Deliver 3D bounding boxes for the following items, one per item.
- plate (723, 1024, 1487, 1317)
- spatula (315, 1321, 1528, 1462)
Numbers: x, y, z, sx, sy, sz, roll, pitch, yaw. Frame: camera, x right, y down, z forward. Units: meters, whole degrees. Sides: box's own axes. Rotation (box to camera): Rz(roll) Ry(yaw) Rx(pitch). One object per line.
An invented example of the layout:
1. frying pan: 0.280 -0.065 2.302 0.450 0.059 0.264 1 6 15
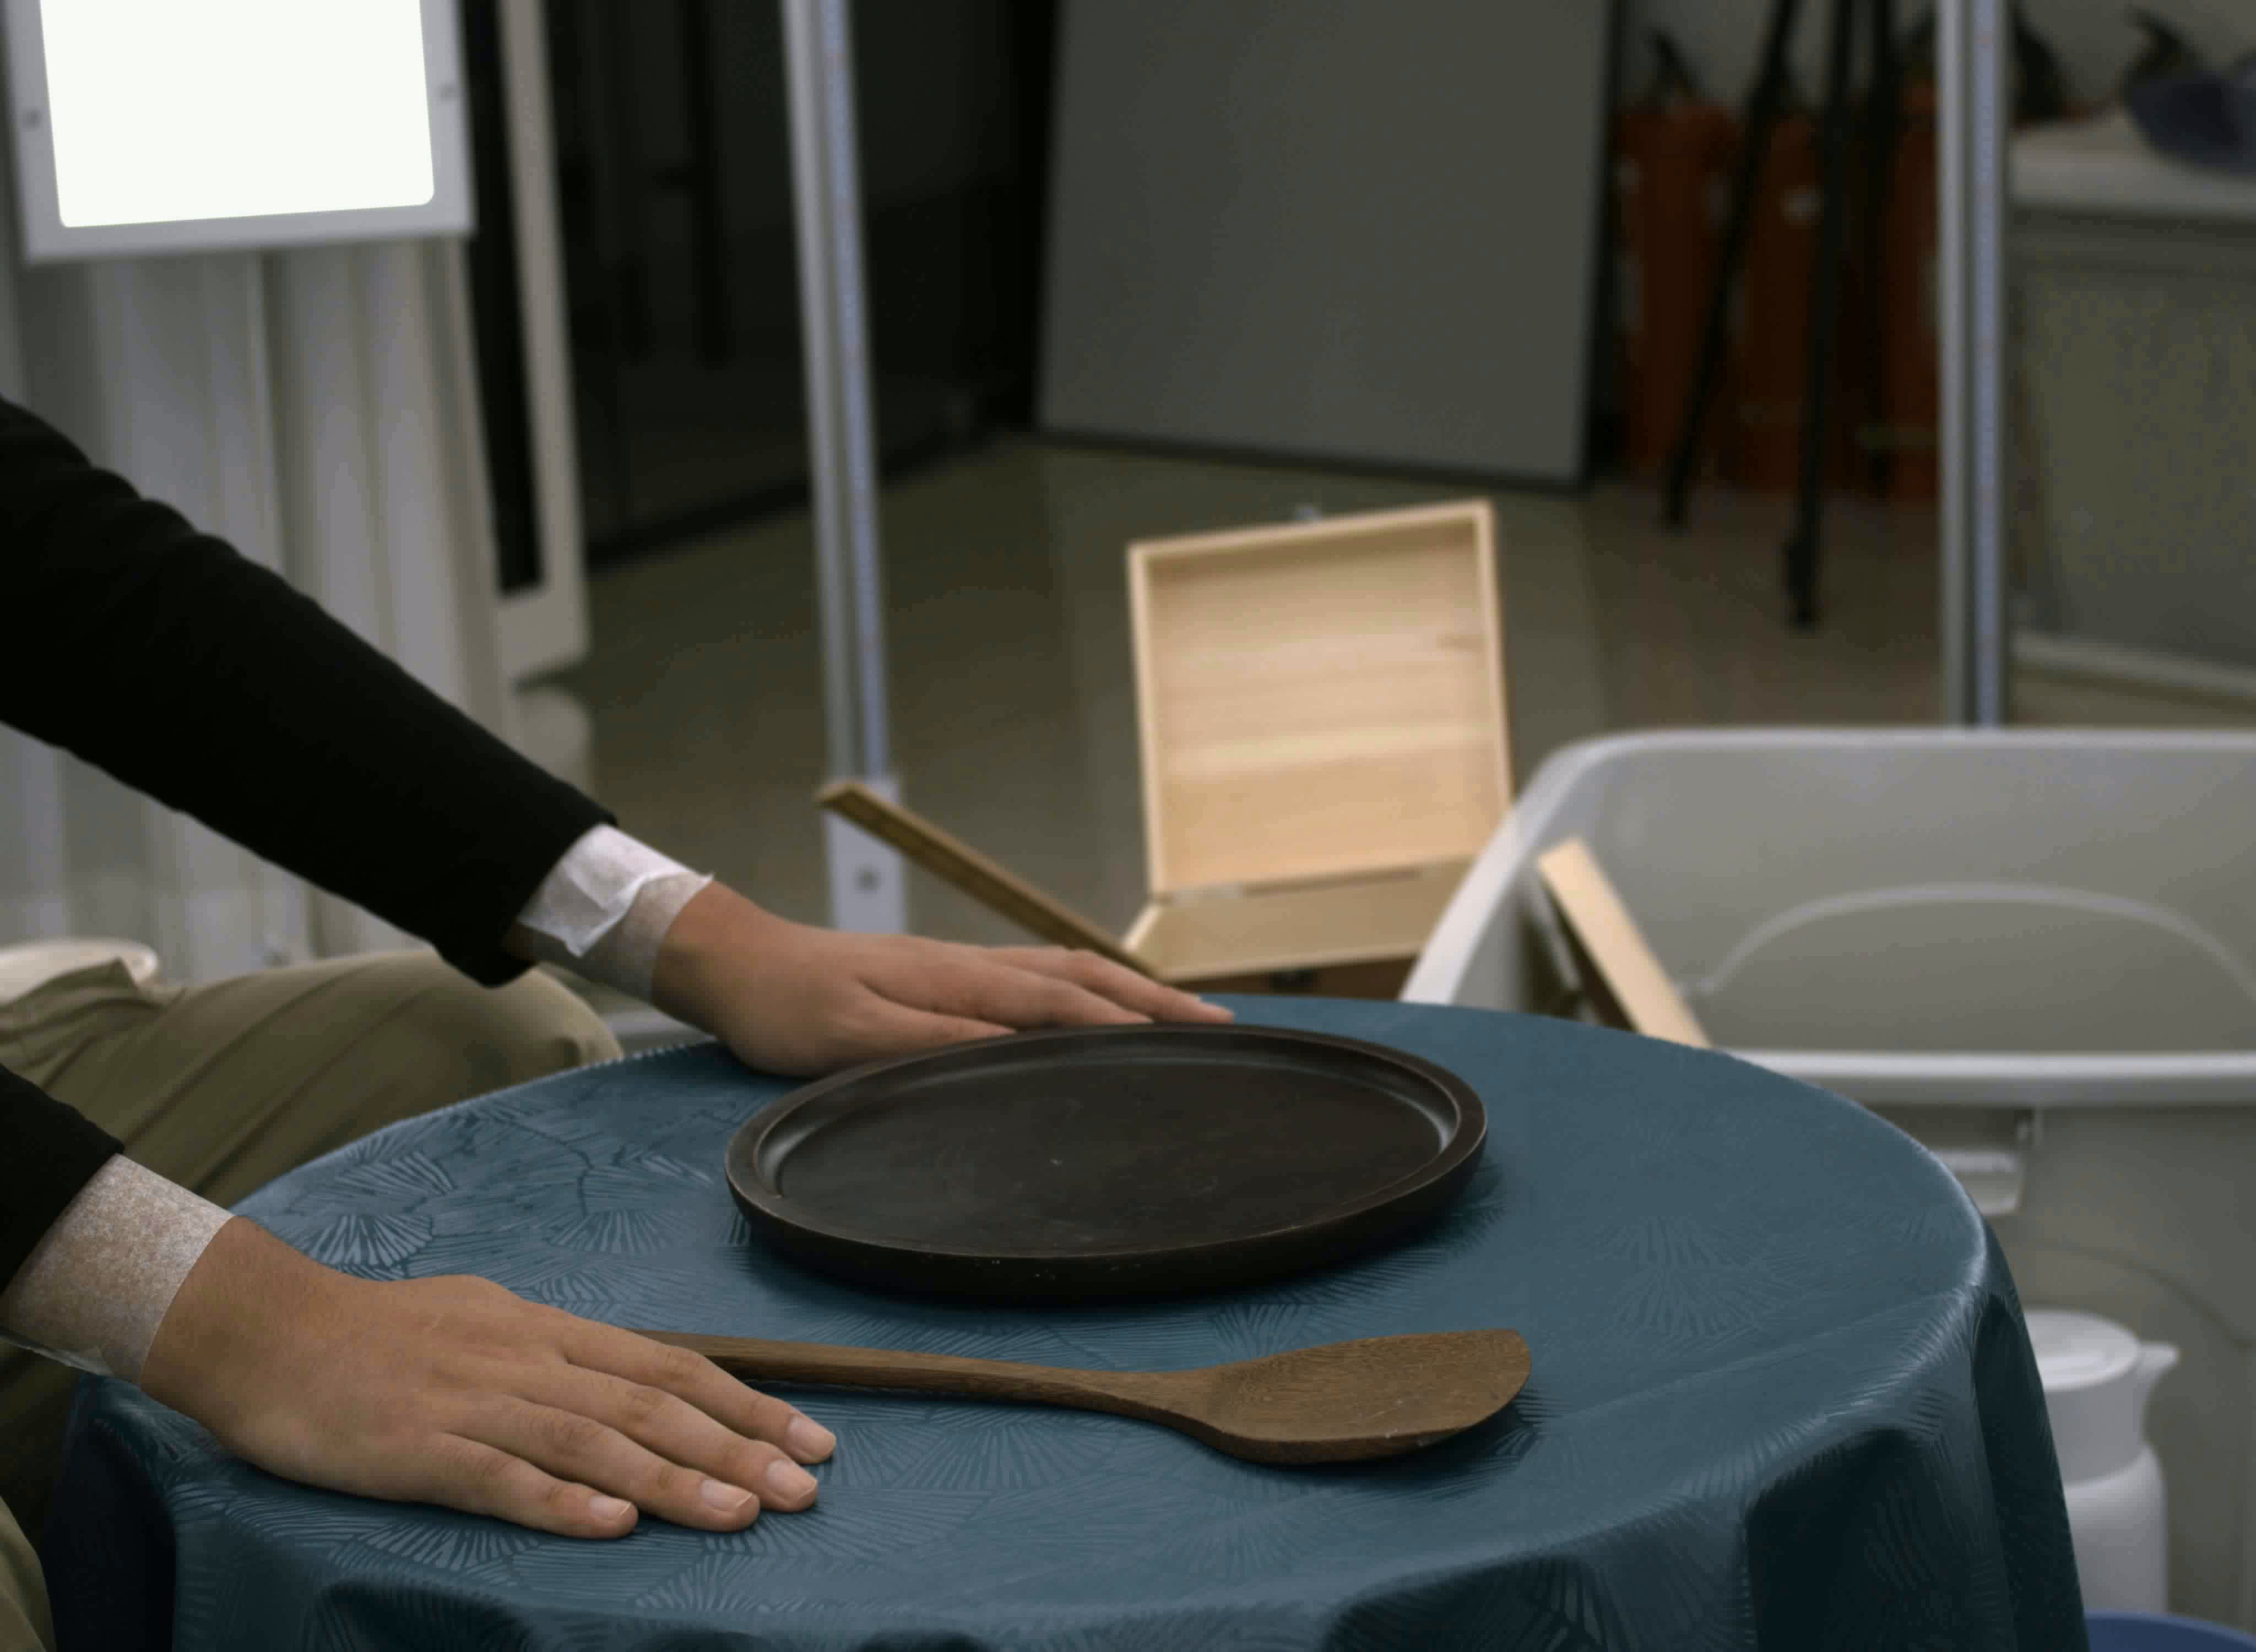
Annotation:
1. plate: -0.007 0.111 1.766 0.251 0.029 0.255 -4 15 0
2. spatula: -0.069 0.162 1.595 0.385 0.016 0.095 1 14 21
